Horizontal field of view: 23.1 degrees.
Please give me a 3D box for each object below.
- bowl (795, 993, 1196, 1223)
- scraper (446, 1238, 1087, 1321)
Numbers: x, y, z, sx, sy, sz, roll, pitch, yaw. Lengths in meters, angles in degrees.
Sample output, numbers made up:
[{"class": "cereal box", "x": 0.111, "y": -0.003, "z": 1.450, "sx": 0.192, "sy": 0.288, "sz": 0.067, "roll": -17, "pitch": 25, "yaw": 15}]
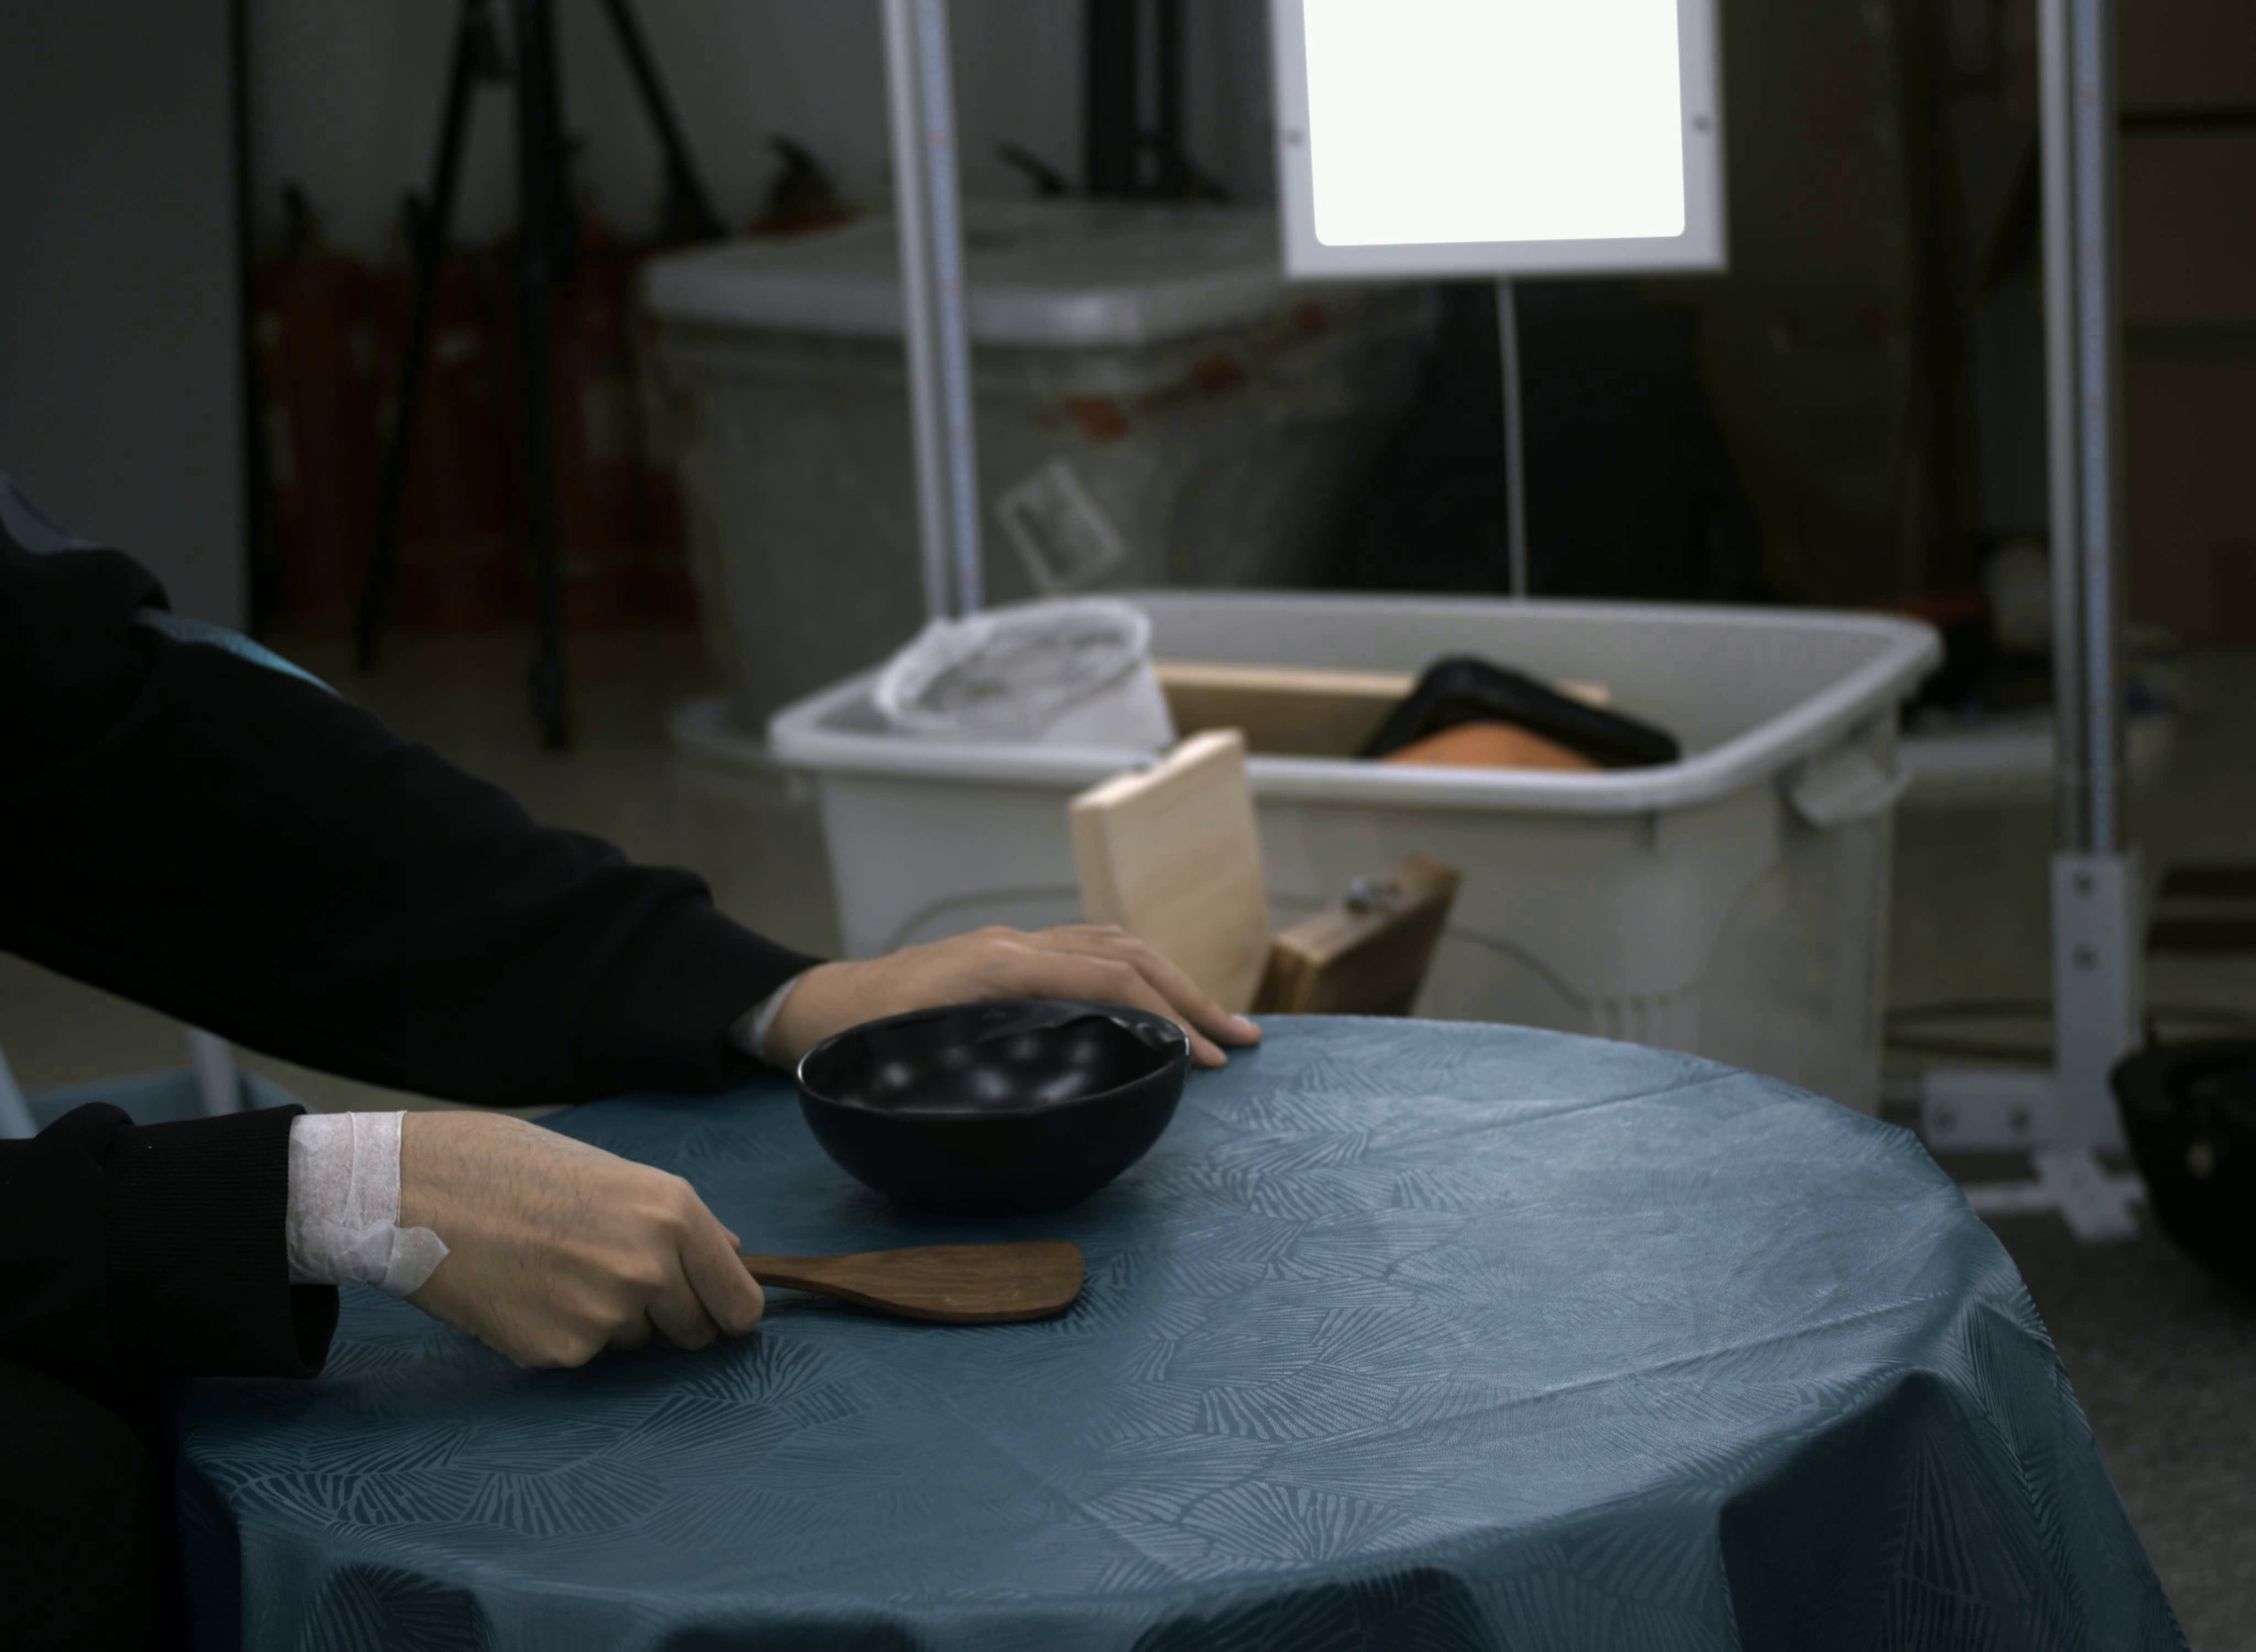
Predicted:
[{"class": "bowl", "x": -0.044, "y": 0.102, "z": 1.912, "sx": 0.140, "sy": 0.050, "sz": 0.140, "roll": -6, "pitch": 16, "yaw": 0}, {"class": "scraper", "x": -0.118, "y": 0.146, "z": 1.810, "sx": 0.211, "sy": 0.011, "sz": 0.075, "roll": 2, "pitch": 13, "yaw": 3}]
